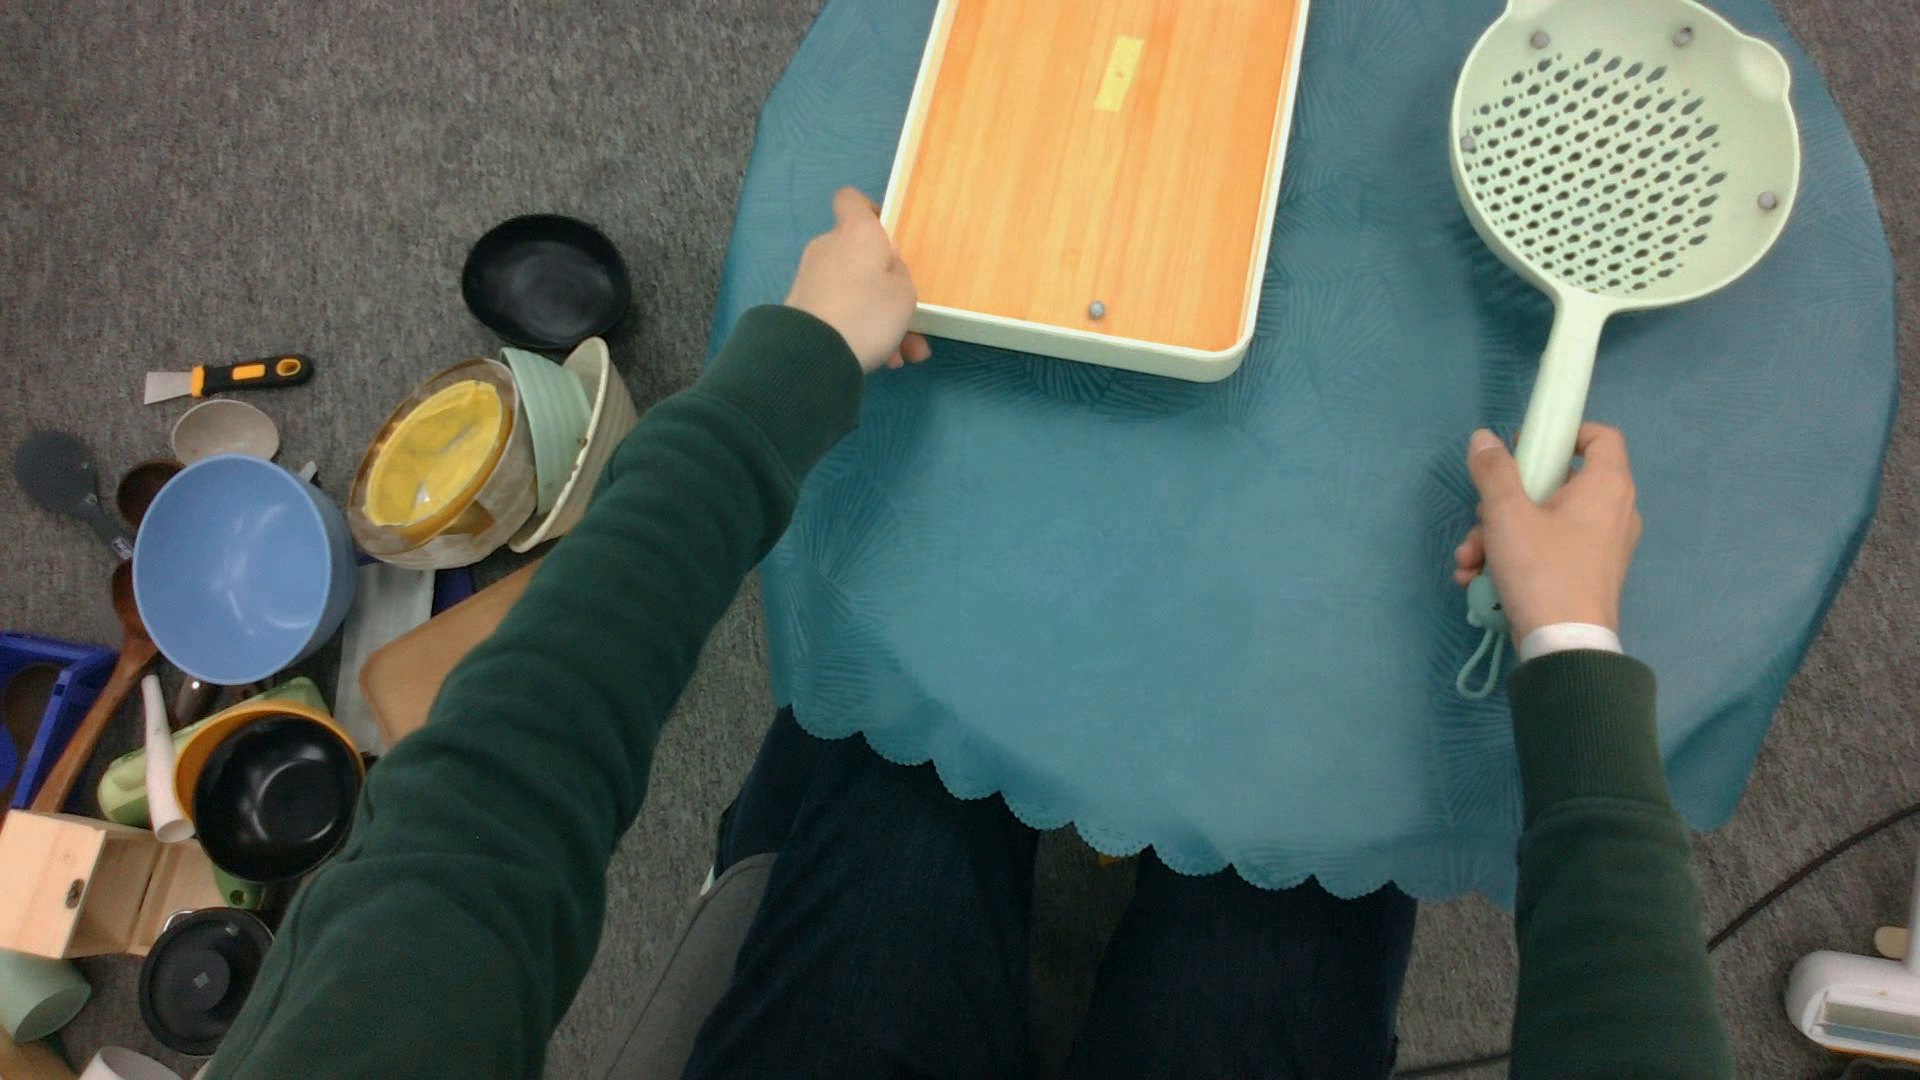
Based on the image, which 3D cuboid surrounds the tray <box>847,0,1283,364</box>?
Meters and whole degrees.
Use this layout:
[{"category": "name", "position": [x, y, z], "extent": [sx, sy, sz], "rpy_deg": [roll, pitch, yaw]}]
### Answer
[{"category": "tray", "position": [0.064, -0.238, 0.721], "extent": [0.191, 0.027, 0.301], "rpy_deg": [11, 68, 5]}]

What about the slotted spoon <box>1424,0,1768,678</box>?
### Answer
[{"category": "slotted spoon", "position": [0.281, -0.108, 0.660], "extent": [0.169, 0.075, 0.360], "rpy_deg": [18, 70, 2]}]
